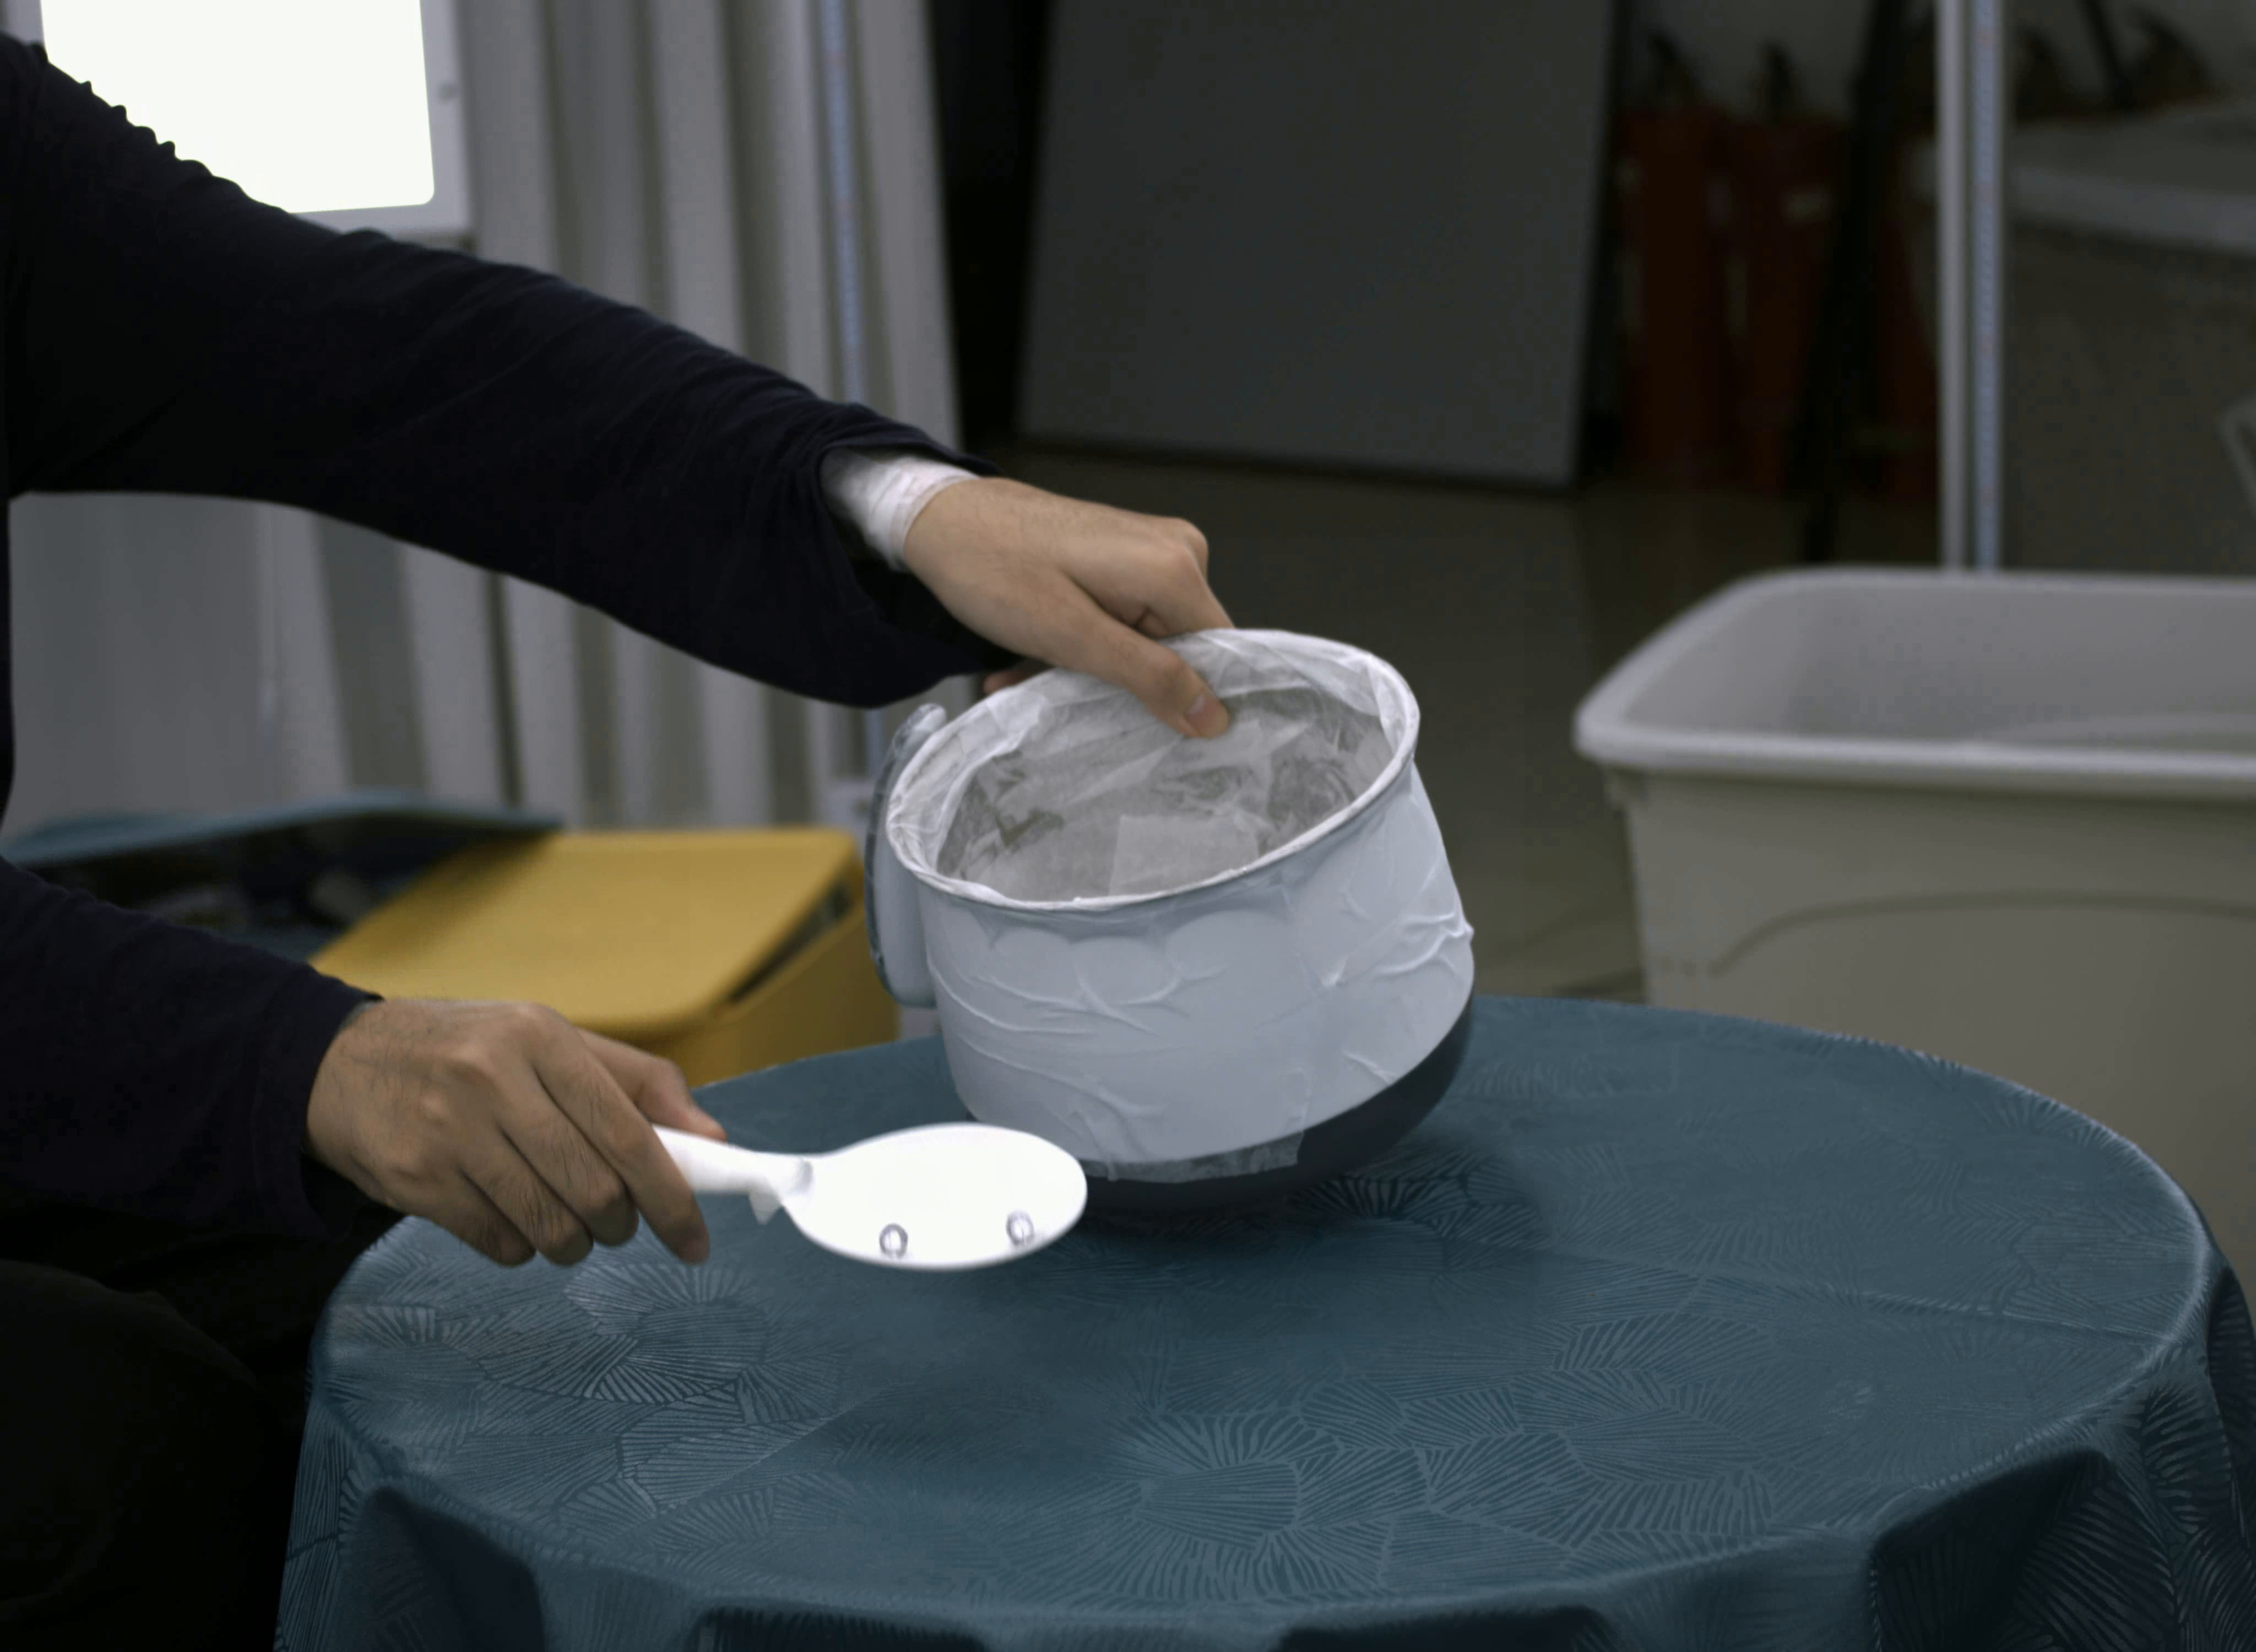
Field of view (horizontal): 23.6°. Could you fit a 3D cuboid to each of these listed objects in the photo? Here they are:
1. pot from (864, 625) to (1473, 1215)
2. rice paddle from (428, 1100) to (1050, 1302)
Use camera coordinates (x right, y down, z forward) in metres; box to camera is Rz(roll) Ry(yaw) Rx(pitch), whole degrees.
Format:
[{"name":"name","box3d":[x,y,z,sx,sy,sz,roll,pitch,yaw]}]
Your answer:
[{"name":"pot","box3d":[0.000,0.028,1.773,0.235,0.137,0.176,11,34,39]},{"name":"rice paddle","box3d":[-0.116,0.111,1.613,0.206,0.029,0.068,8,30,26]}]
